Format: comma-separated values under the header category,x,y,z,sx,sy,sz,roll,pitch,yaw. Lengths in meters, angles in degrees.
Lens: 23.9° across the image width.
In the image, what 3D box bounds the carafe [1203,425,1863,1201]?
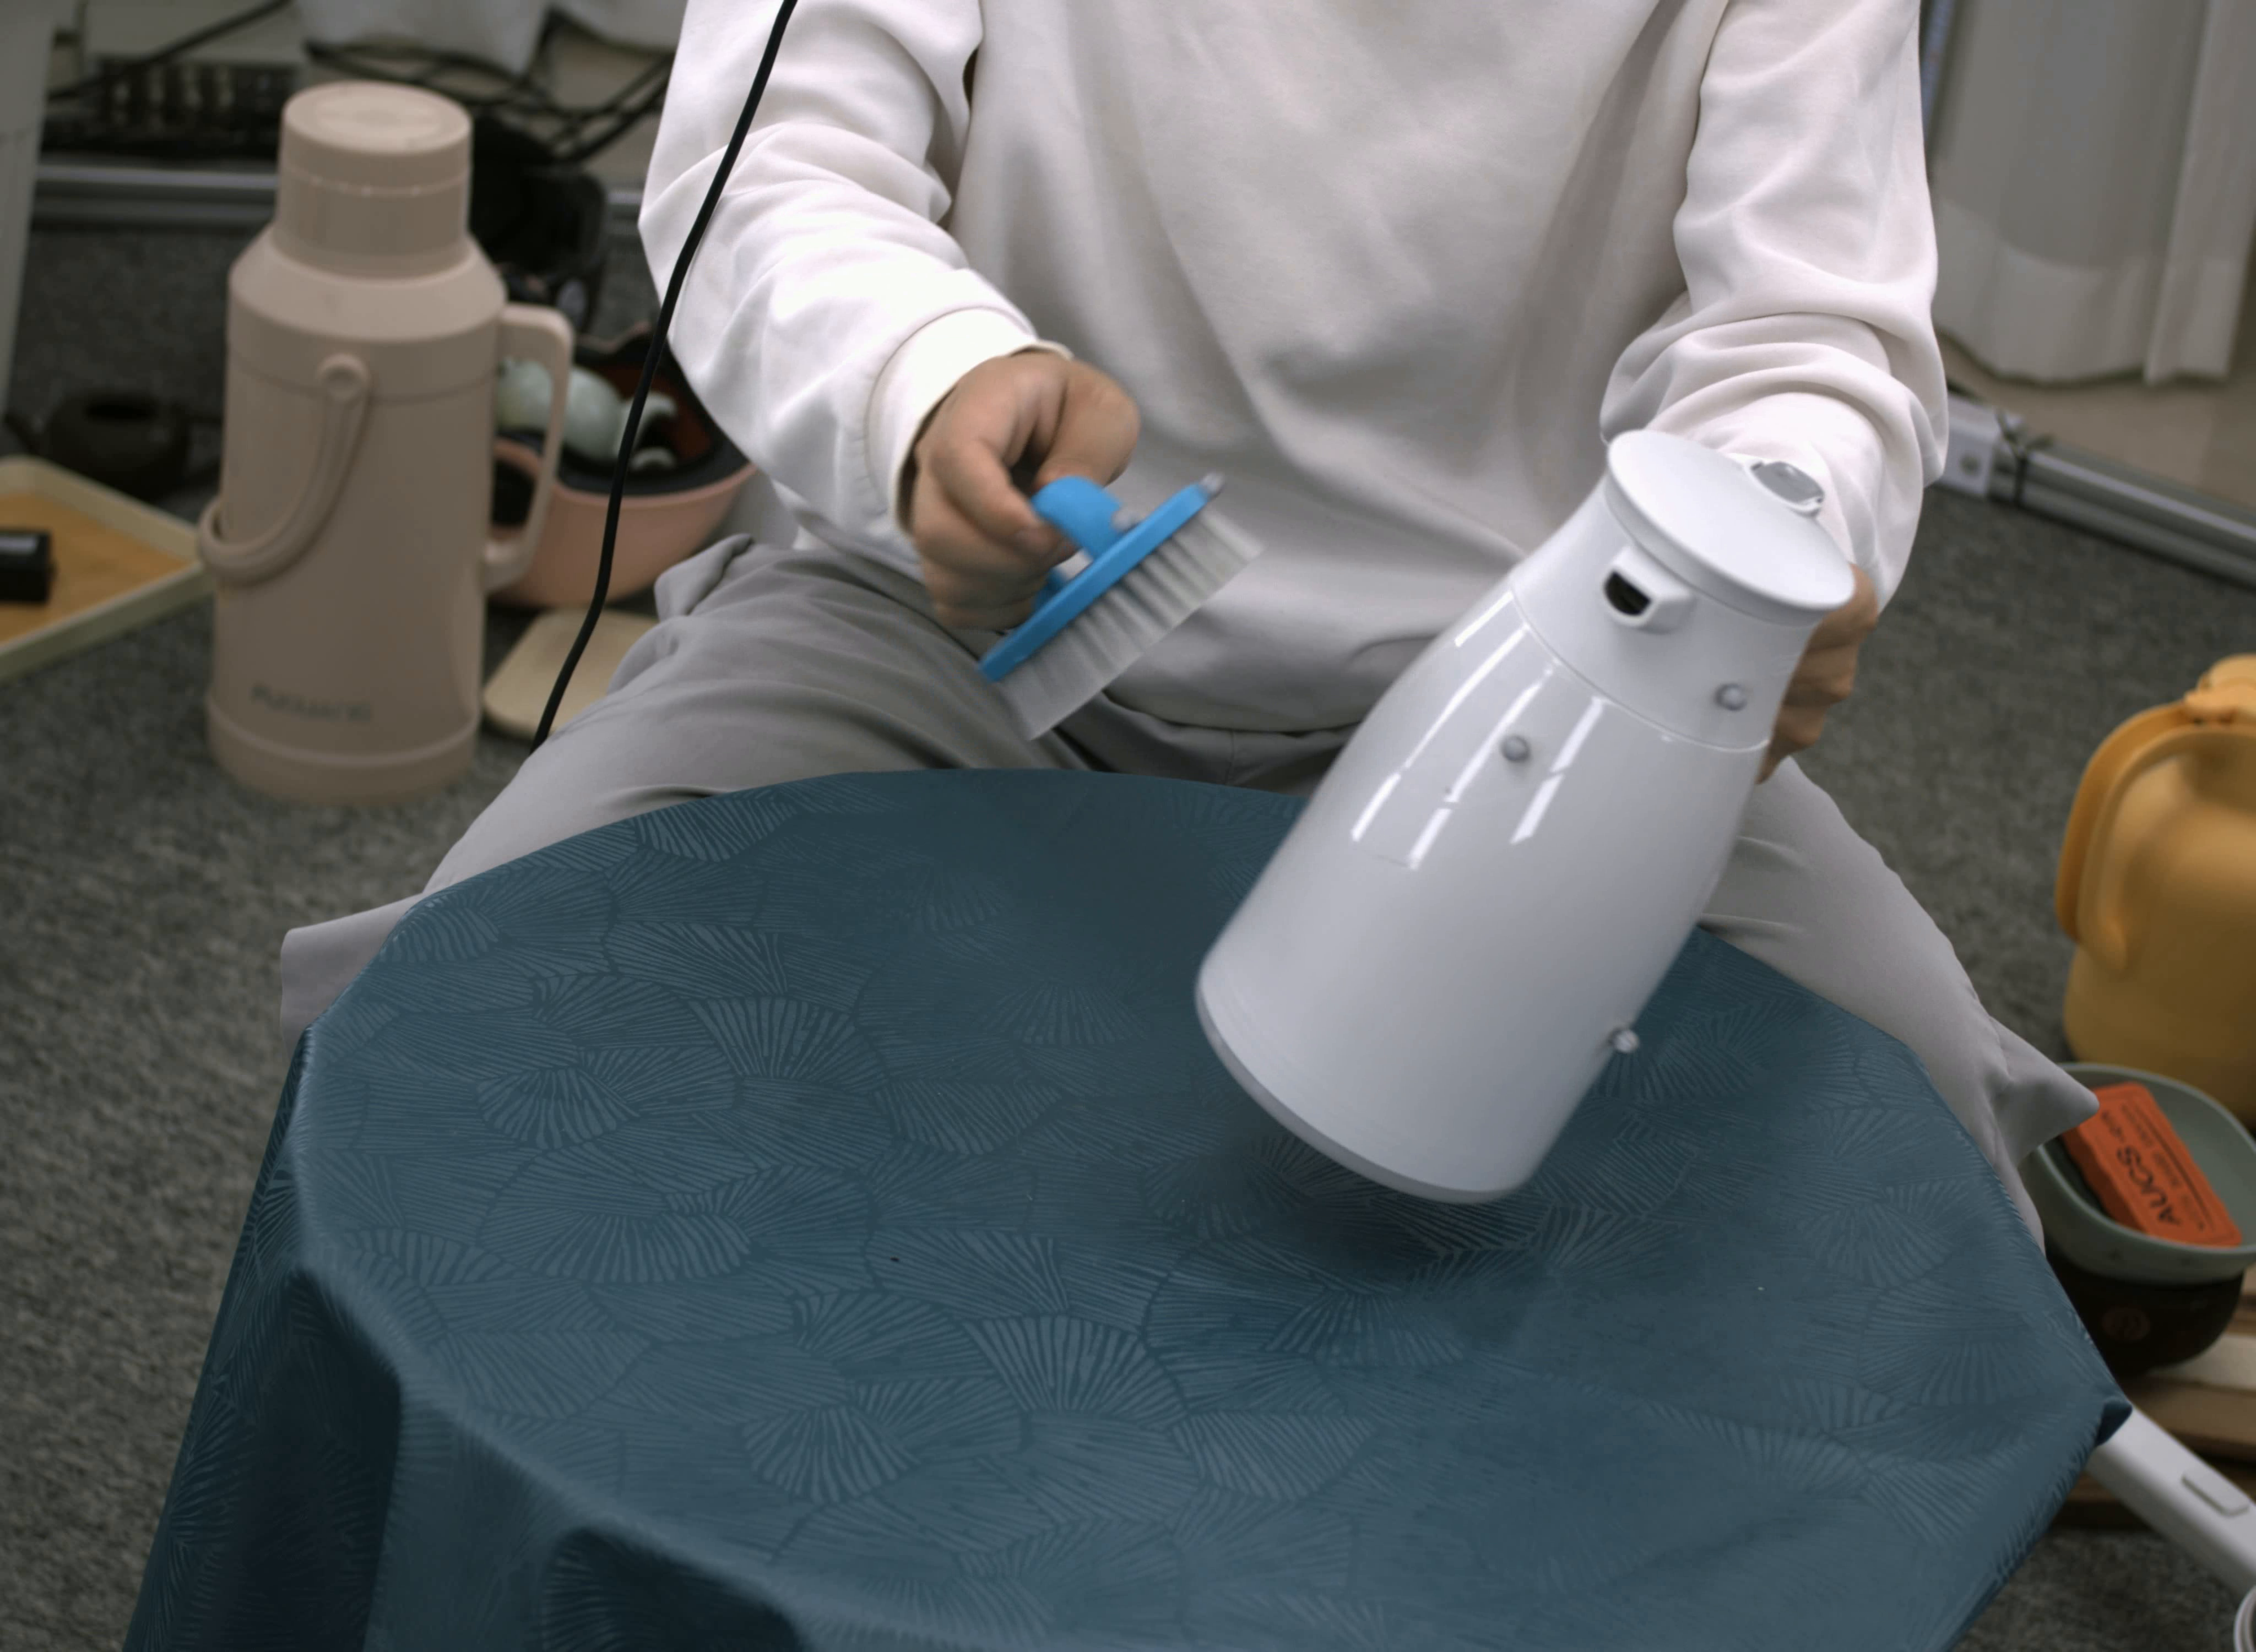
category,x,y,z,sx,sy,sz,roll,pitch,yaw
carafe,0.148,-0.016,1.762,0.133,0.248,0.167,39,26,15

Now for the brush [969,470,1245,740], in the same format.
category,x,y,z,sx,sy,sz,roll,pitch,yaw
brush,-0.018,-0.083,1.787,0.084,0.142,0.064,-44,93,-18
